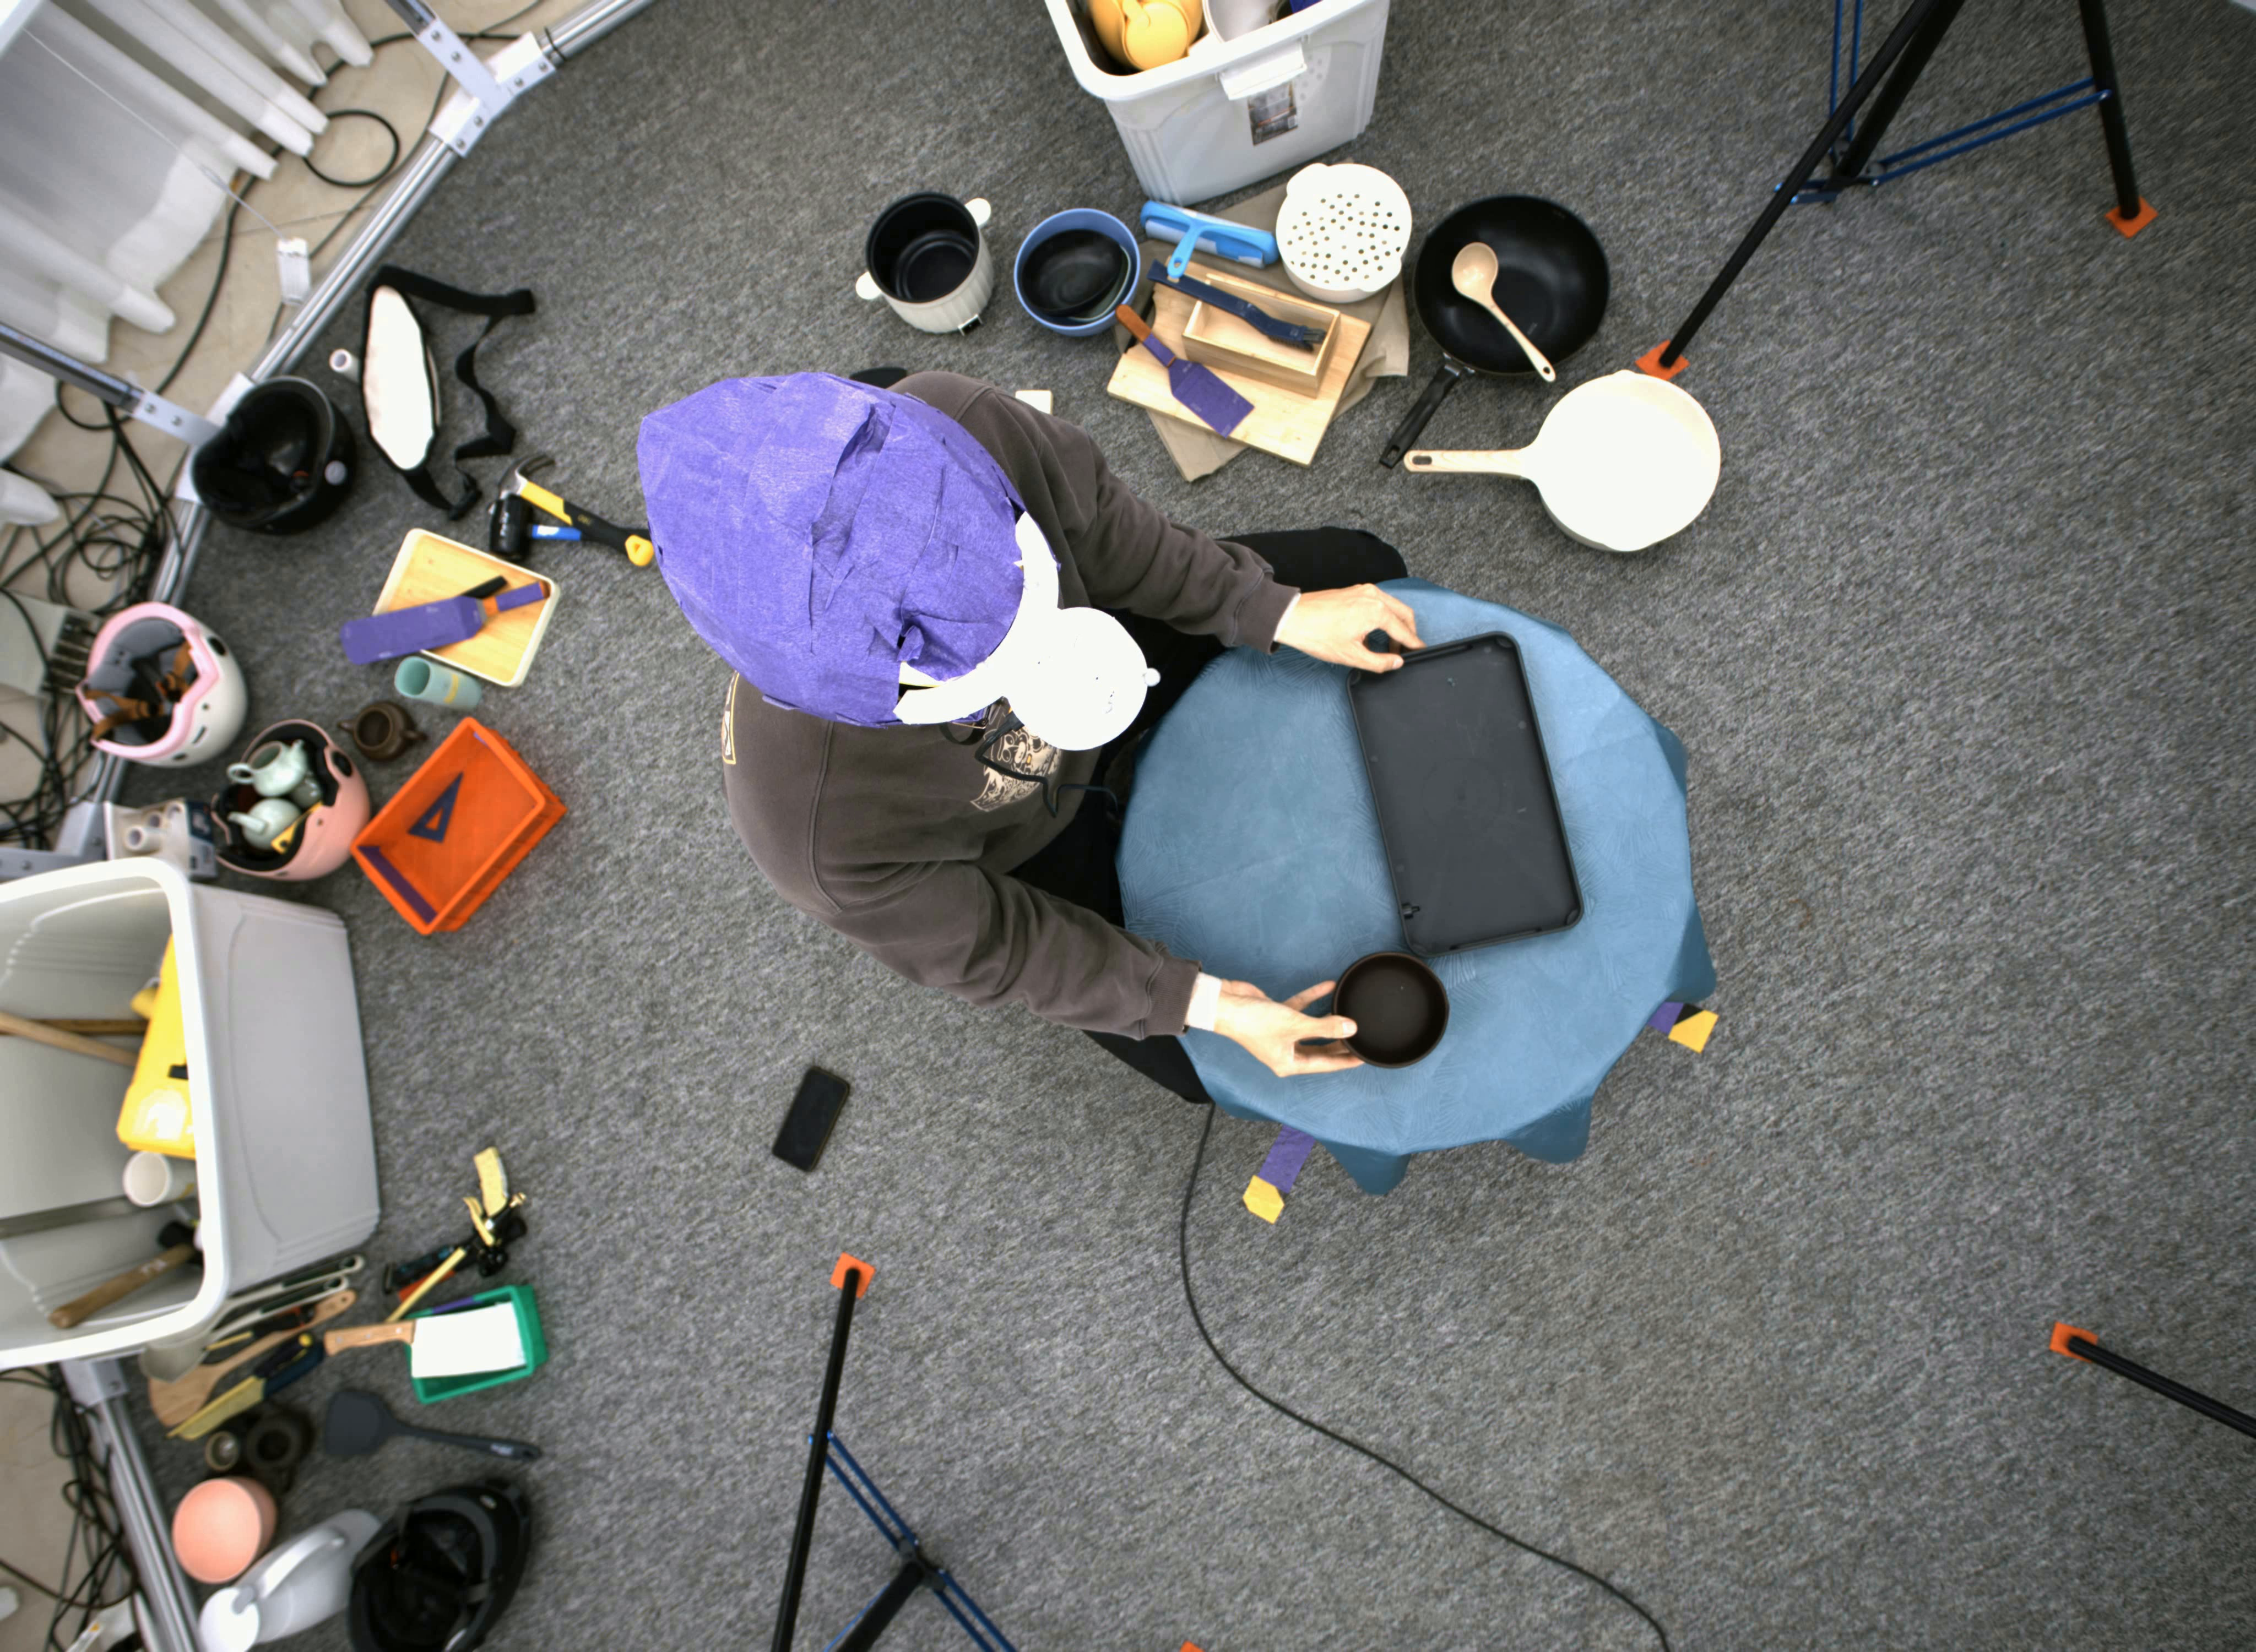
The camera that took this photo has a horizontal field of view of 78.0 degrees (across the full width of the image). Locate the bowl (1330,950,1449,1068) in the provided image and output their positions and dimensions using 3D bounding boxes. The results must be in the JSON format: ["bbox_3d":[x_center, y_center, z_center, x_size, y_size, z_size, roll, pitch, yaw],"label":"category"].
[{"bbox_3d":[0.264,0.184,1.404,0.118,0.070,0.117,-1,85,8],"label":"bowl"}]

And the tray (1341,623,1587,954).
[{"bbox_3d":[0.347,-0.040,1.428,0.185,0.037,0.316,-15,86,10],"label":"tray"}]
